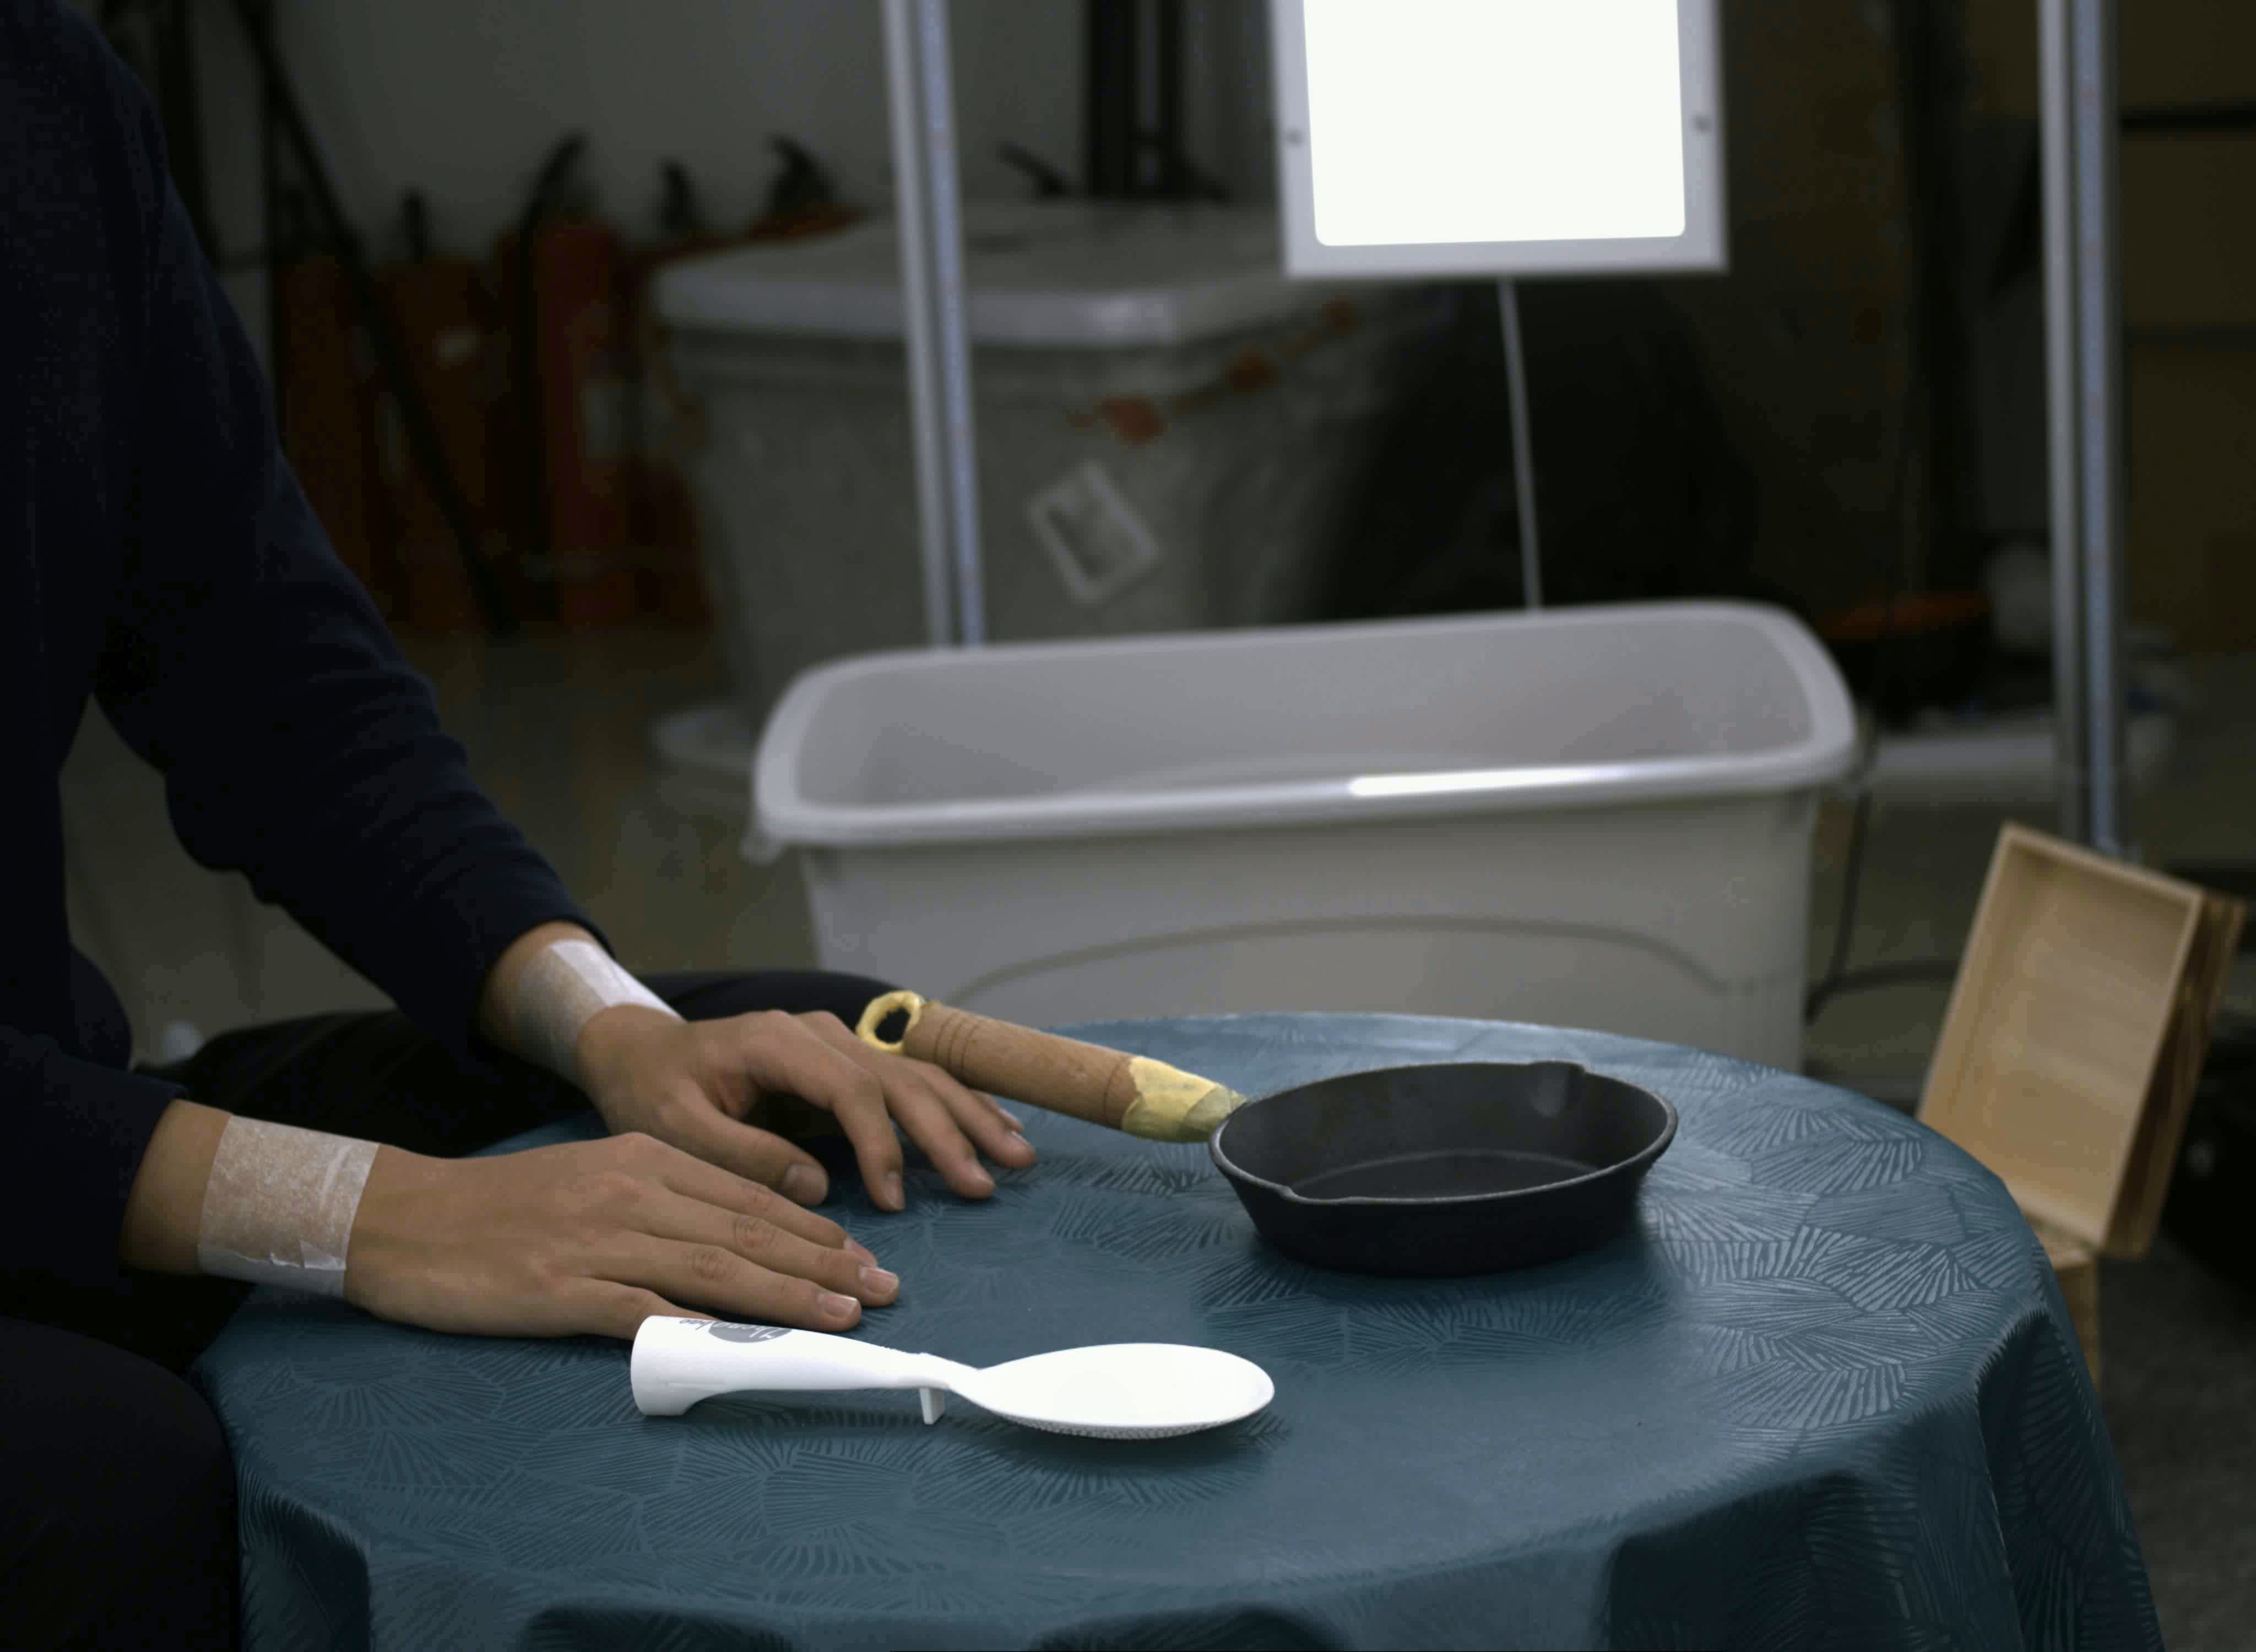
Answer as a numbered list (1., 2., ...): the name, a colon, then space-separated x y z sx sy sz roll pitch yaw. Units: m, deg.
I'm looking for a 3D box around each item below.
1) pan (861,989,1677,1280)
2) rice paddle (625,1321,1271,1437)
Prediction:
1. pan: 0.039 0.100 1.886 0.331 0.050 0.165 8 19 38
2. rice paddle: -0.055 0.168 1.687 0.208 0.029 0.067 -1 17 20
